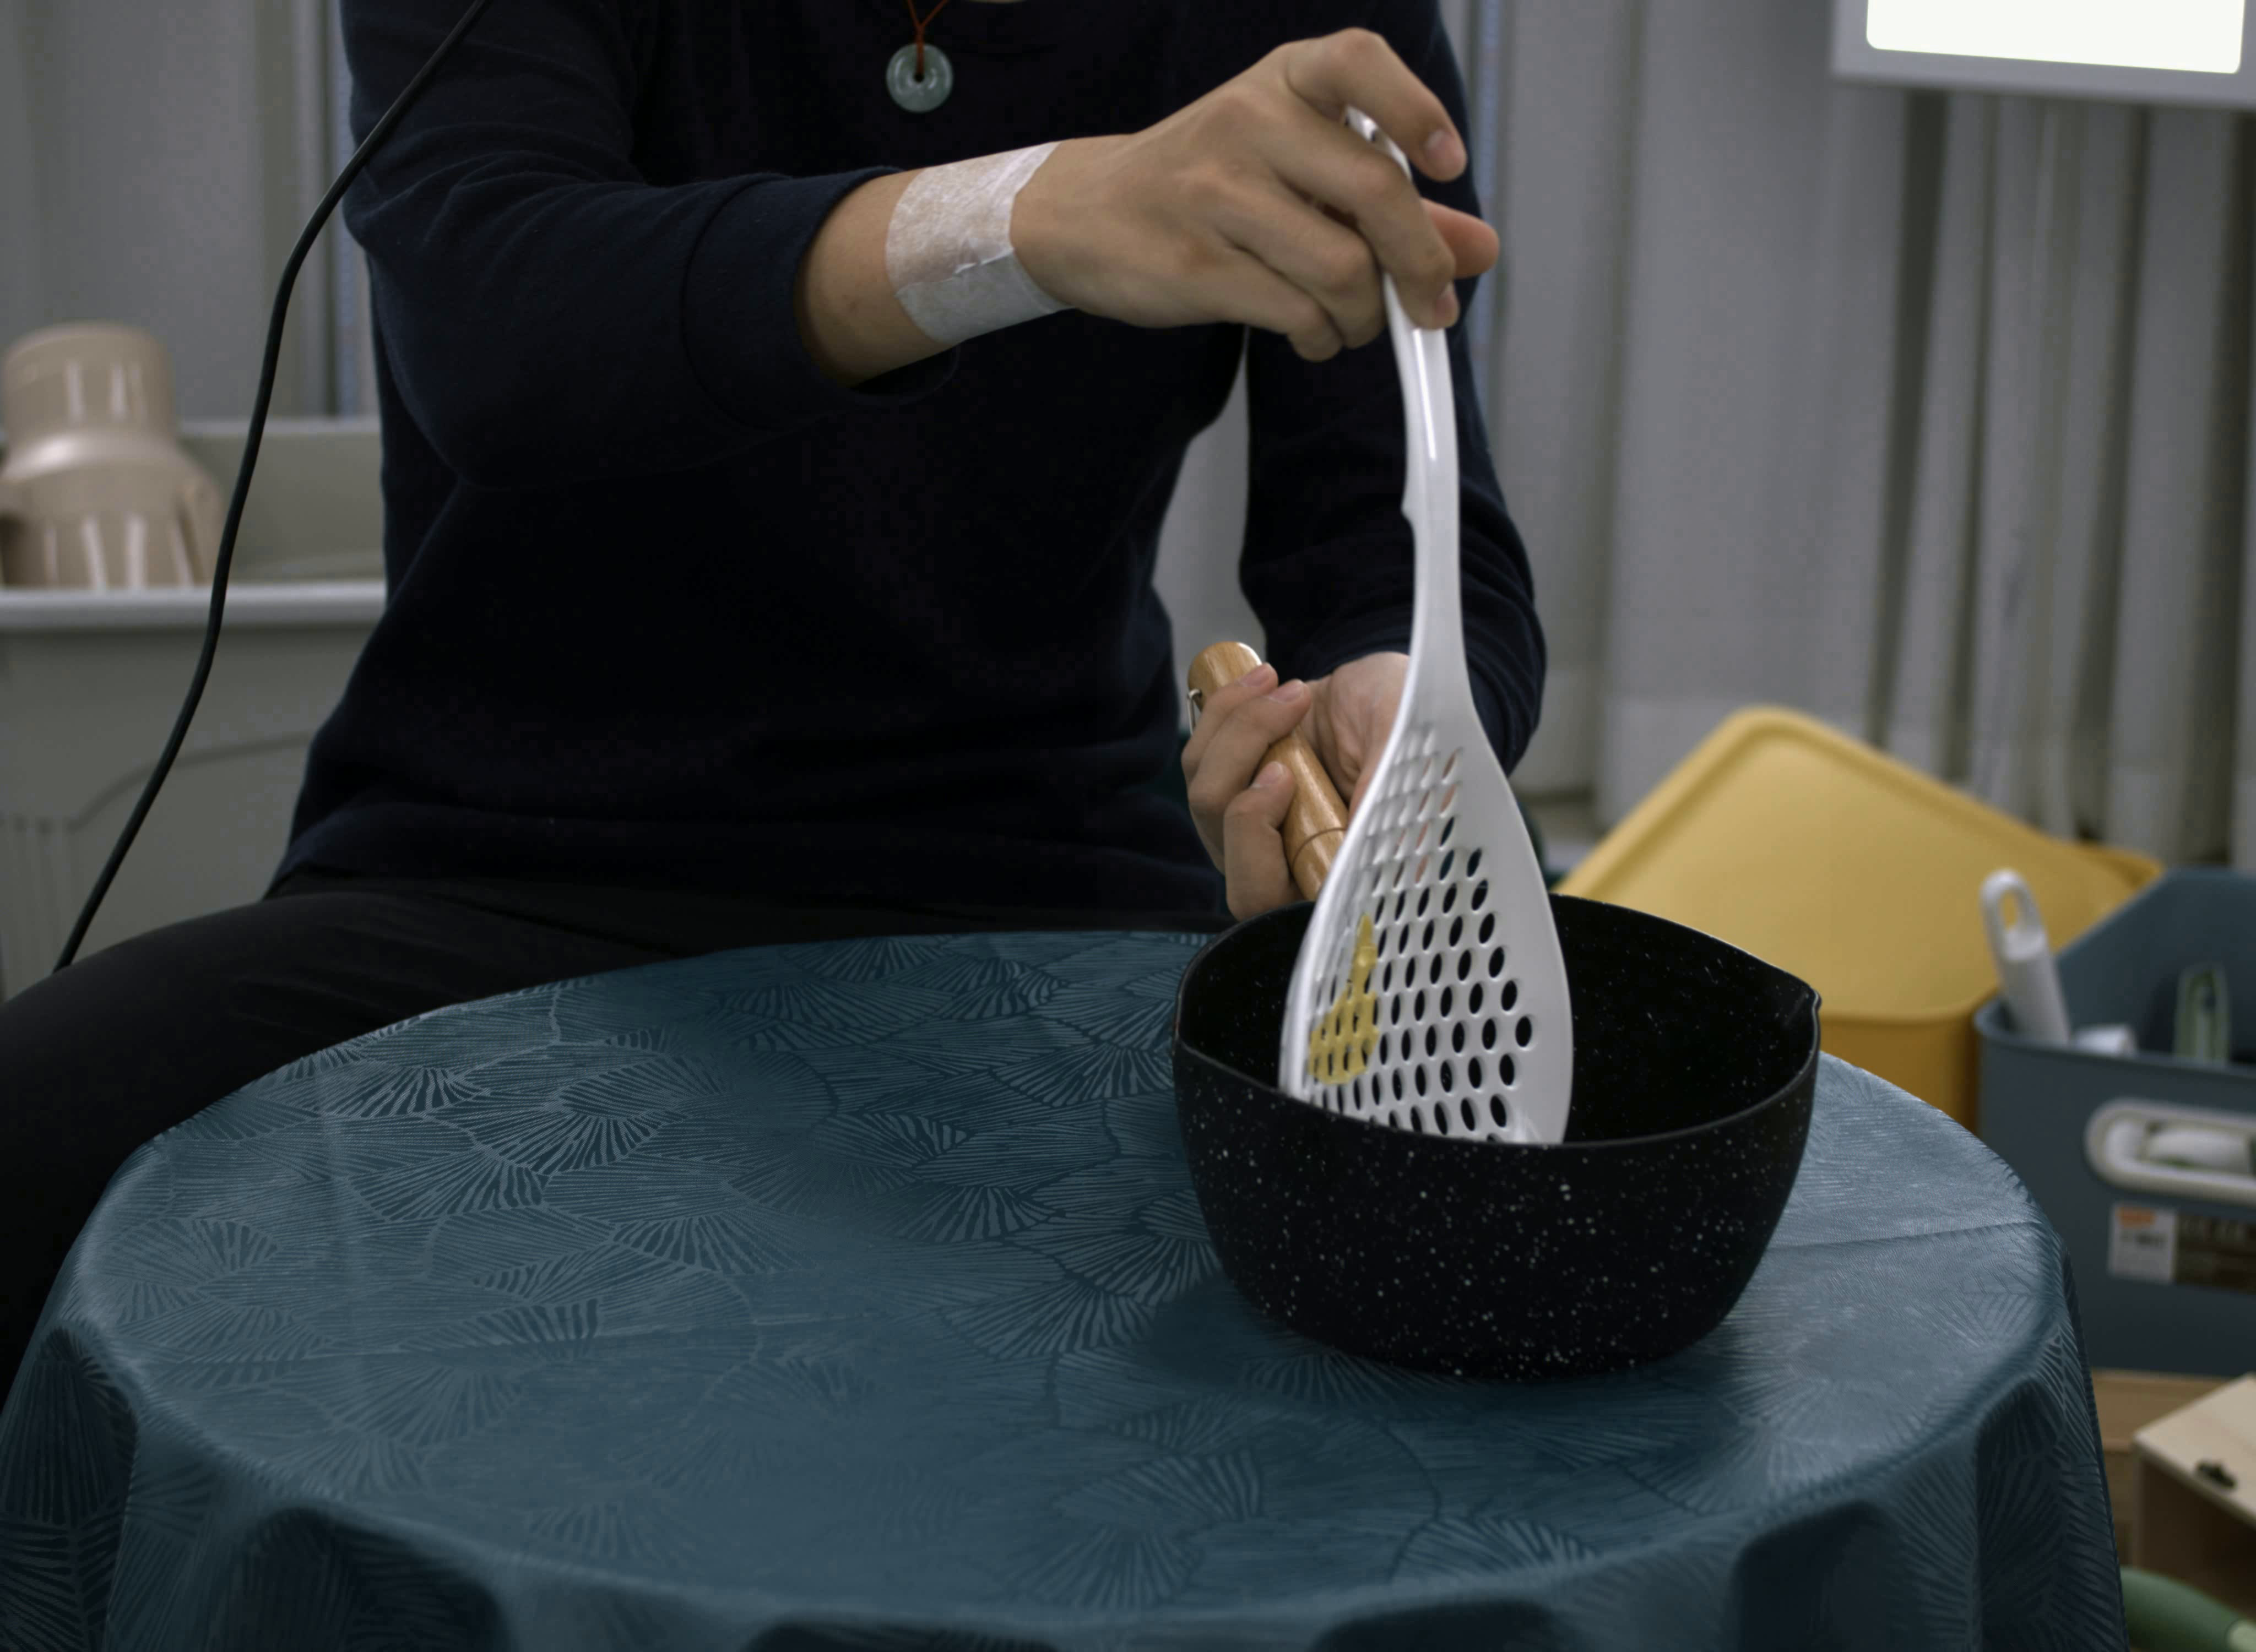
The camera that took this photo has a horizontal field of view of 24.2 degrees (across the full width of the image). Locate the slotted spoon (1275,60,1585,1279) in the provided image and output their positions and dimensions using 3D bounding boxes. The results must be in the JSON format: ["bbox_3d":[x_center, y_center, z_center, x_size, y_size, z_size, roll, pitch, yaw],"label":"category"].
[{"bbox_3d":[0.076,-0.038,1.477,0.049,0.351,0.137,14,21,38],"label":"slotted spoon"}]

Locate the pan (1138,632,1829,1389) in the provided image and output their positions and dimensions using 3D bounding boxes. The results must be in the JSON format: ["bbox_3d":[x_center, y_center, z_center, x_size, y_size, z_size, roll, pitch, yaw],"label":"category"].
[{"bbox_3d":[0.079,0.050,1.583,0.208,0.109,0.338,-5,25,-19],"label":"pan"}]
